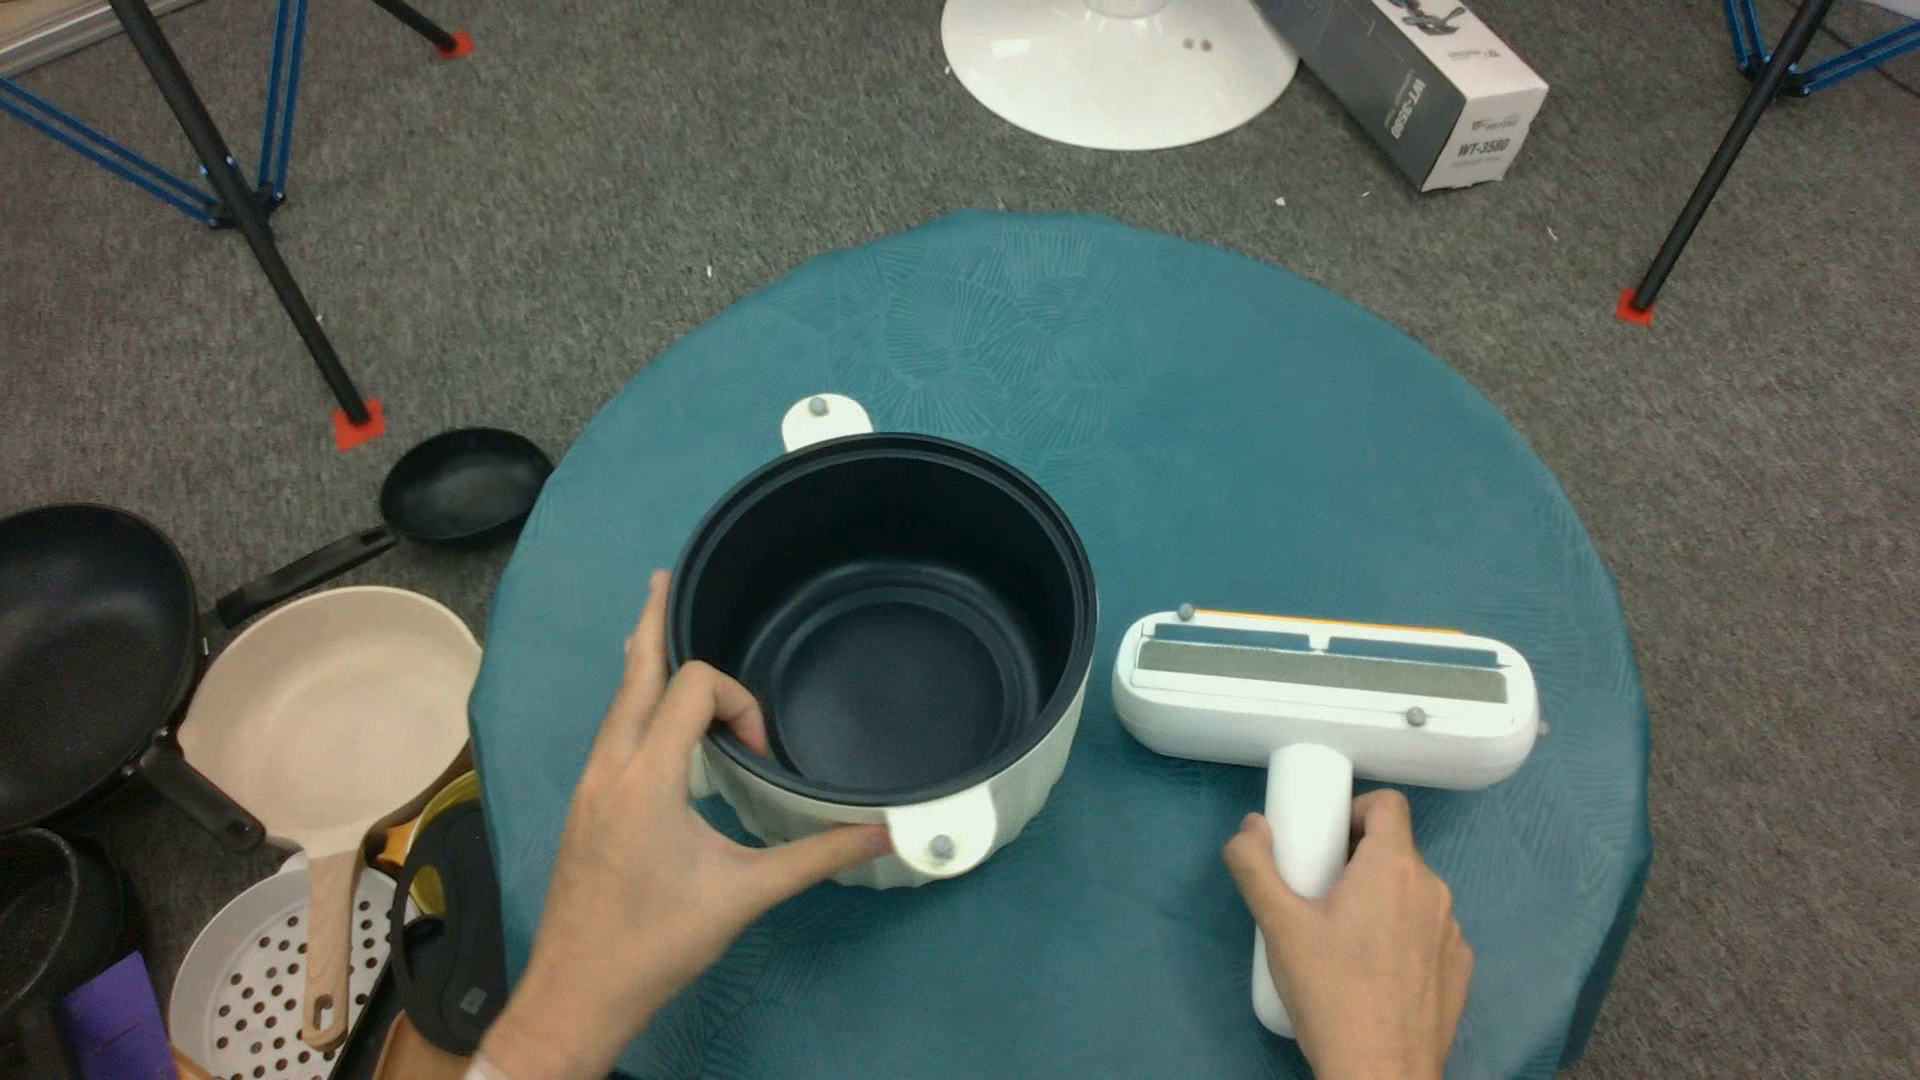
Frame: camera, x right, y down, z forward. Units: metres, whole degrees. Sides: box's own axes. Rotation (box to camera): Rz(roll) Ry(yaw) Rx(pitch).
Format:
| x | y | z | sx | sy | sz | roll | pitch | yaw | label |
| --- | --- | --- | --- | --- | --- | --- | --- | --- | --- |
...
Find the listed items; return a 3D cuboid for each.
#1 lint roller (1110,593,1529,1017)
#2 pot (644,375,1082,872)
| x | y | z | sx | sy | sz | roll | pitch | yaw | label |
| --- | --- | --- | --- | --- | --- | --- | --- | --- | --- |
| 0.153 | 0.117 | 0.630 | 0.192 | 0.074 | 0.193 | 10 | 54 | 13 | lint roller |
| -0.048 | 0.057 | 0.626 | 0.191 | 0.142 | 0.241 | -11 | 56 | -12 | pot |
